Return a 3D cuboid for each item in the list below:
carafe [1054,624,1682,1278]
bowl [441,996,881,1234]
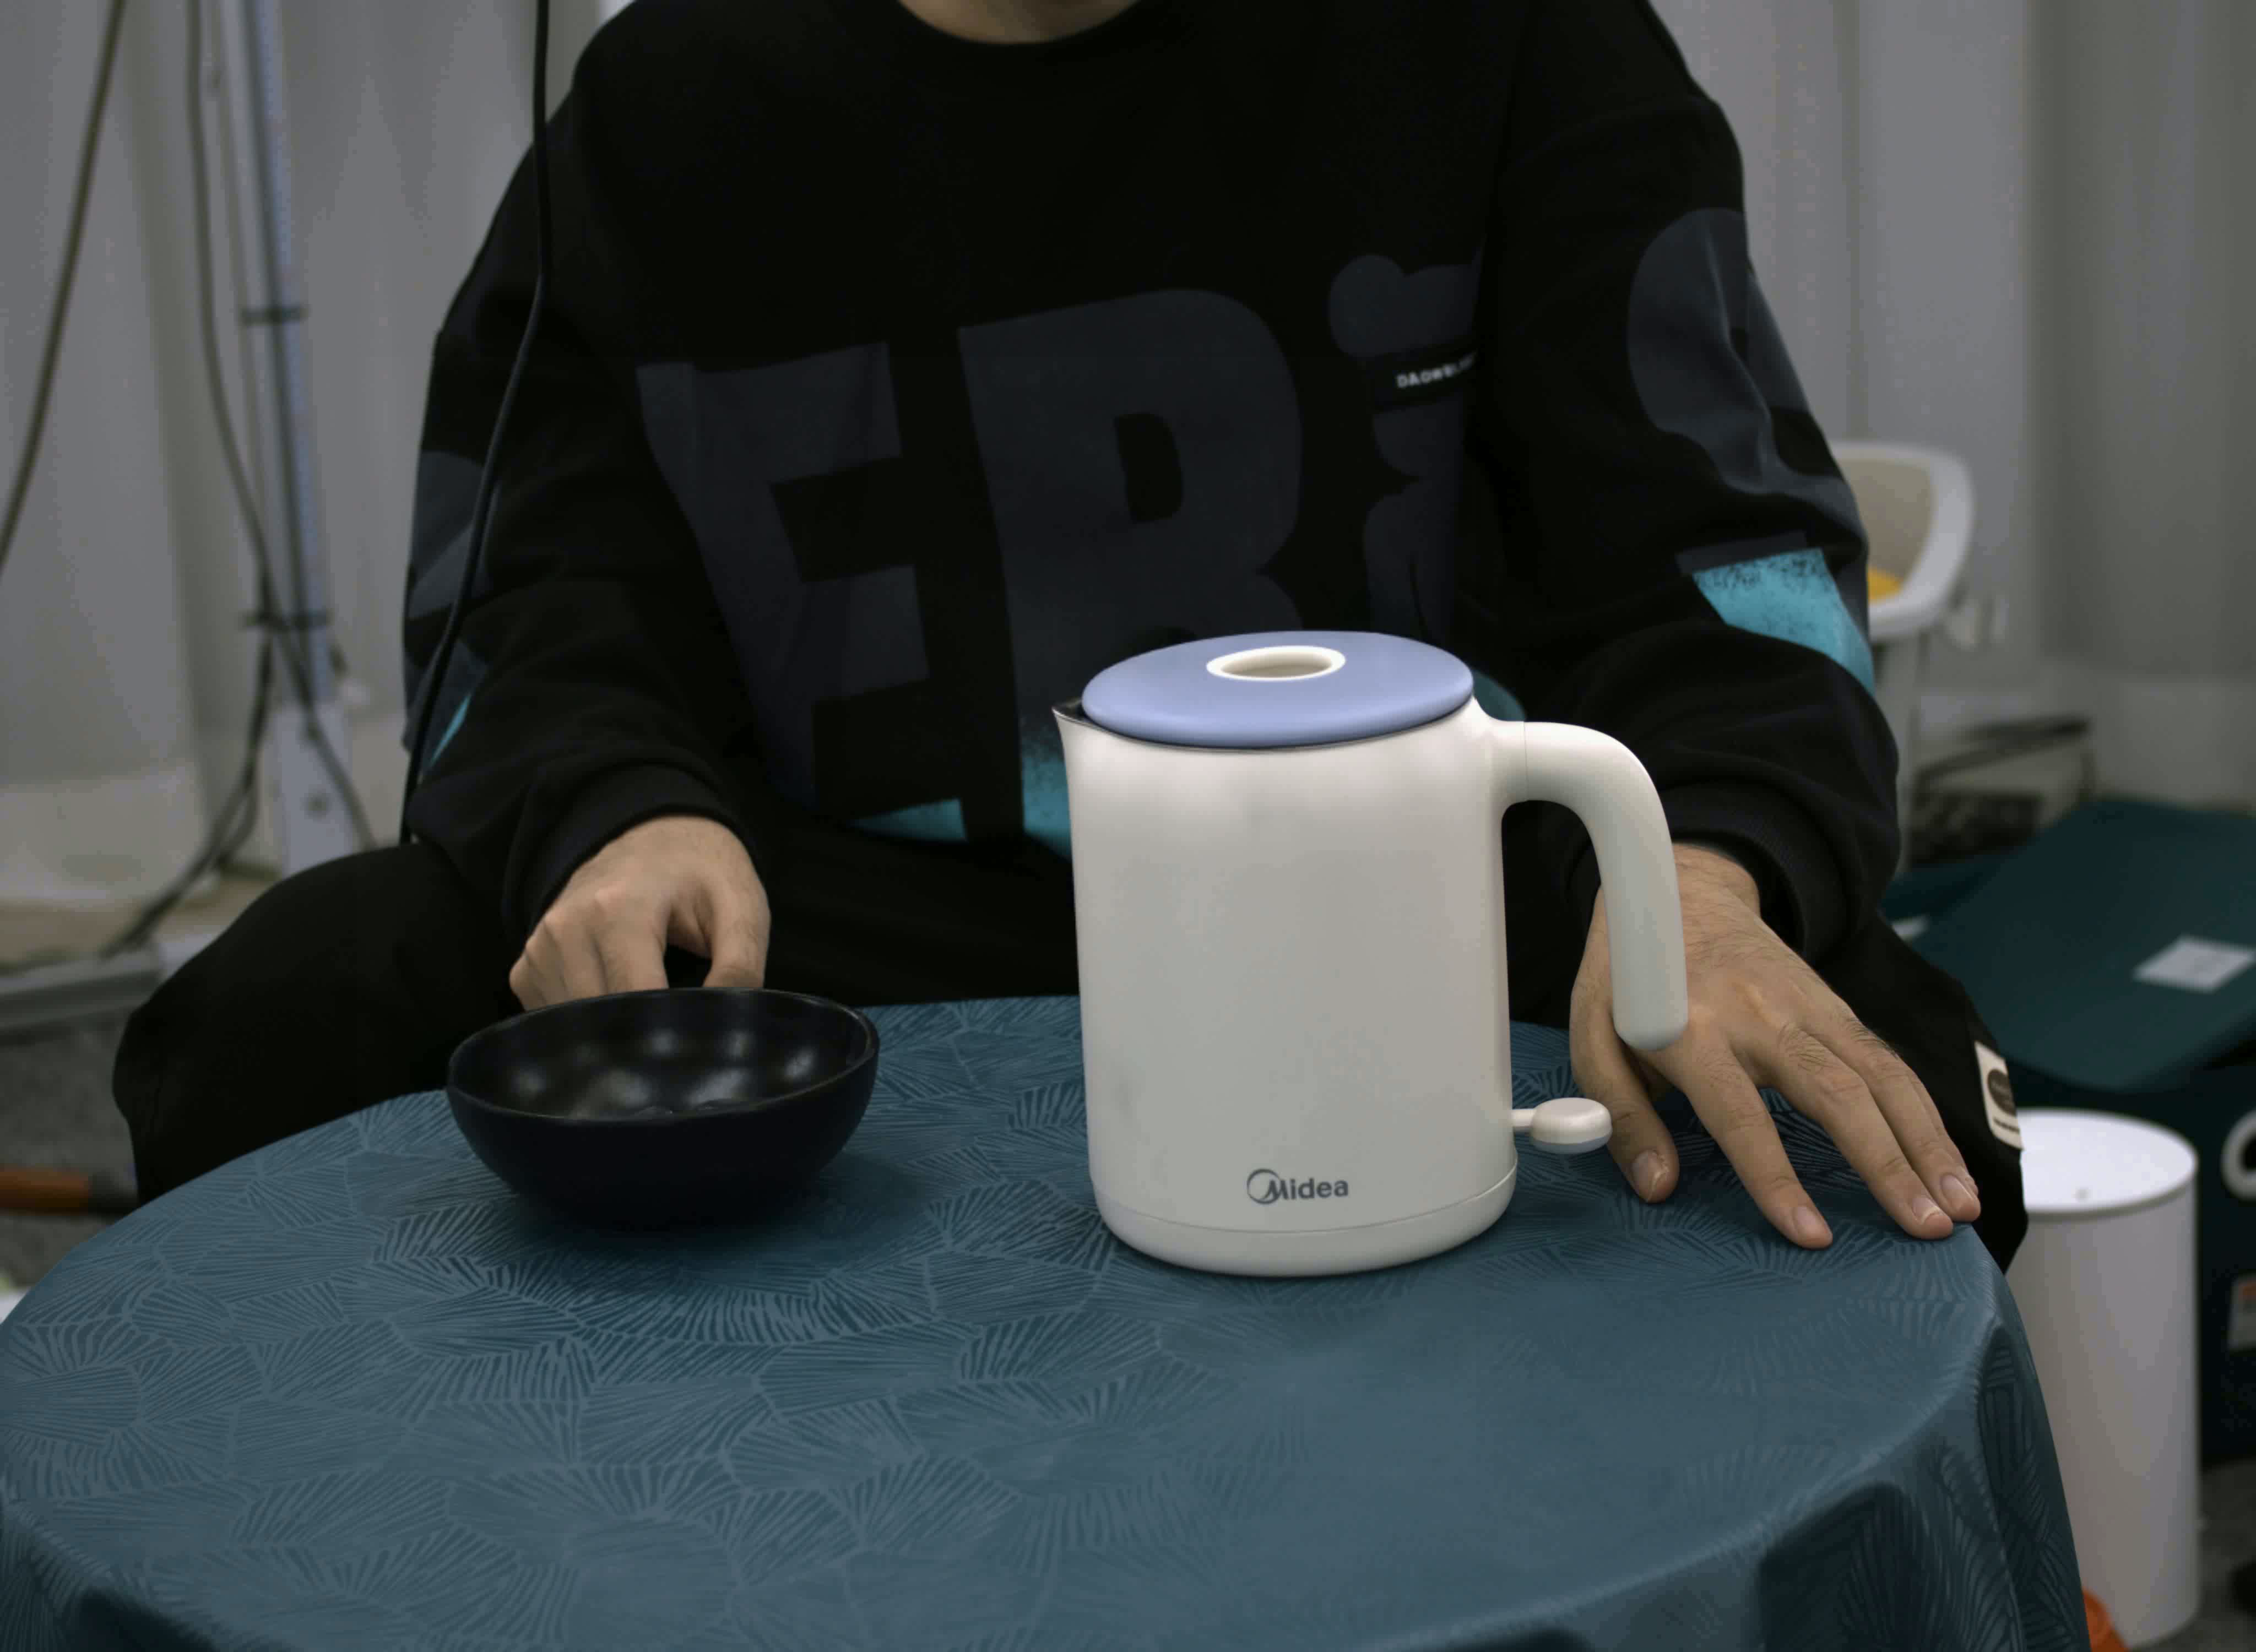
[{"bbox_3d":[0.073,0.037,1.663,0.190,0.182,0.133,0,15,1],"label":"carafe"},{"bbox_3d":[-0.146,0.095,1.725,0.139,0.049,0.141,-2,13,0],"label":"bowl"}]
